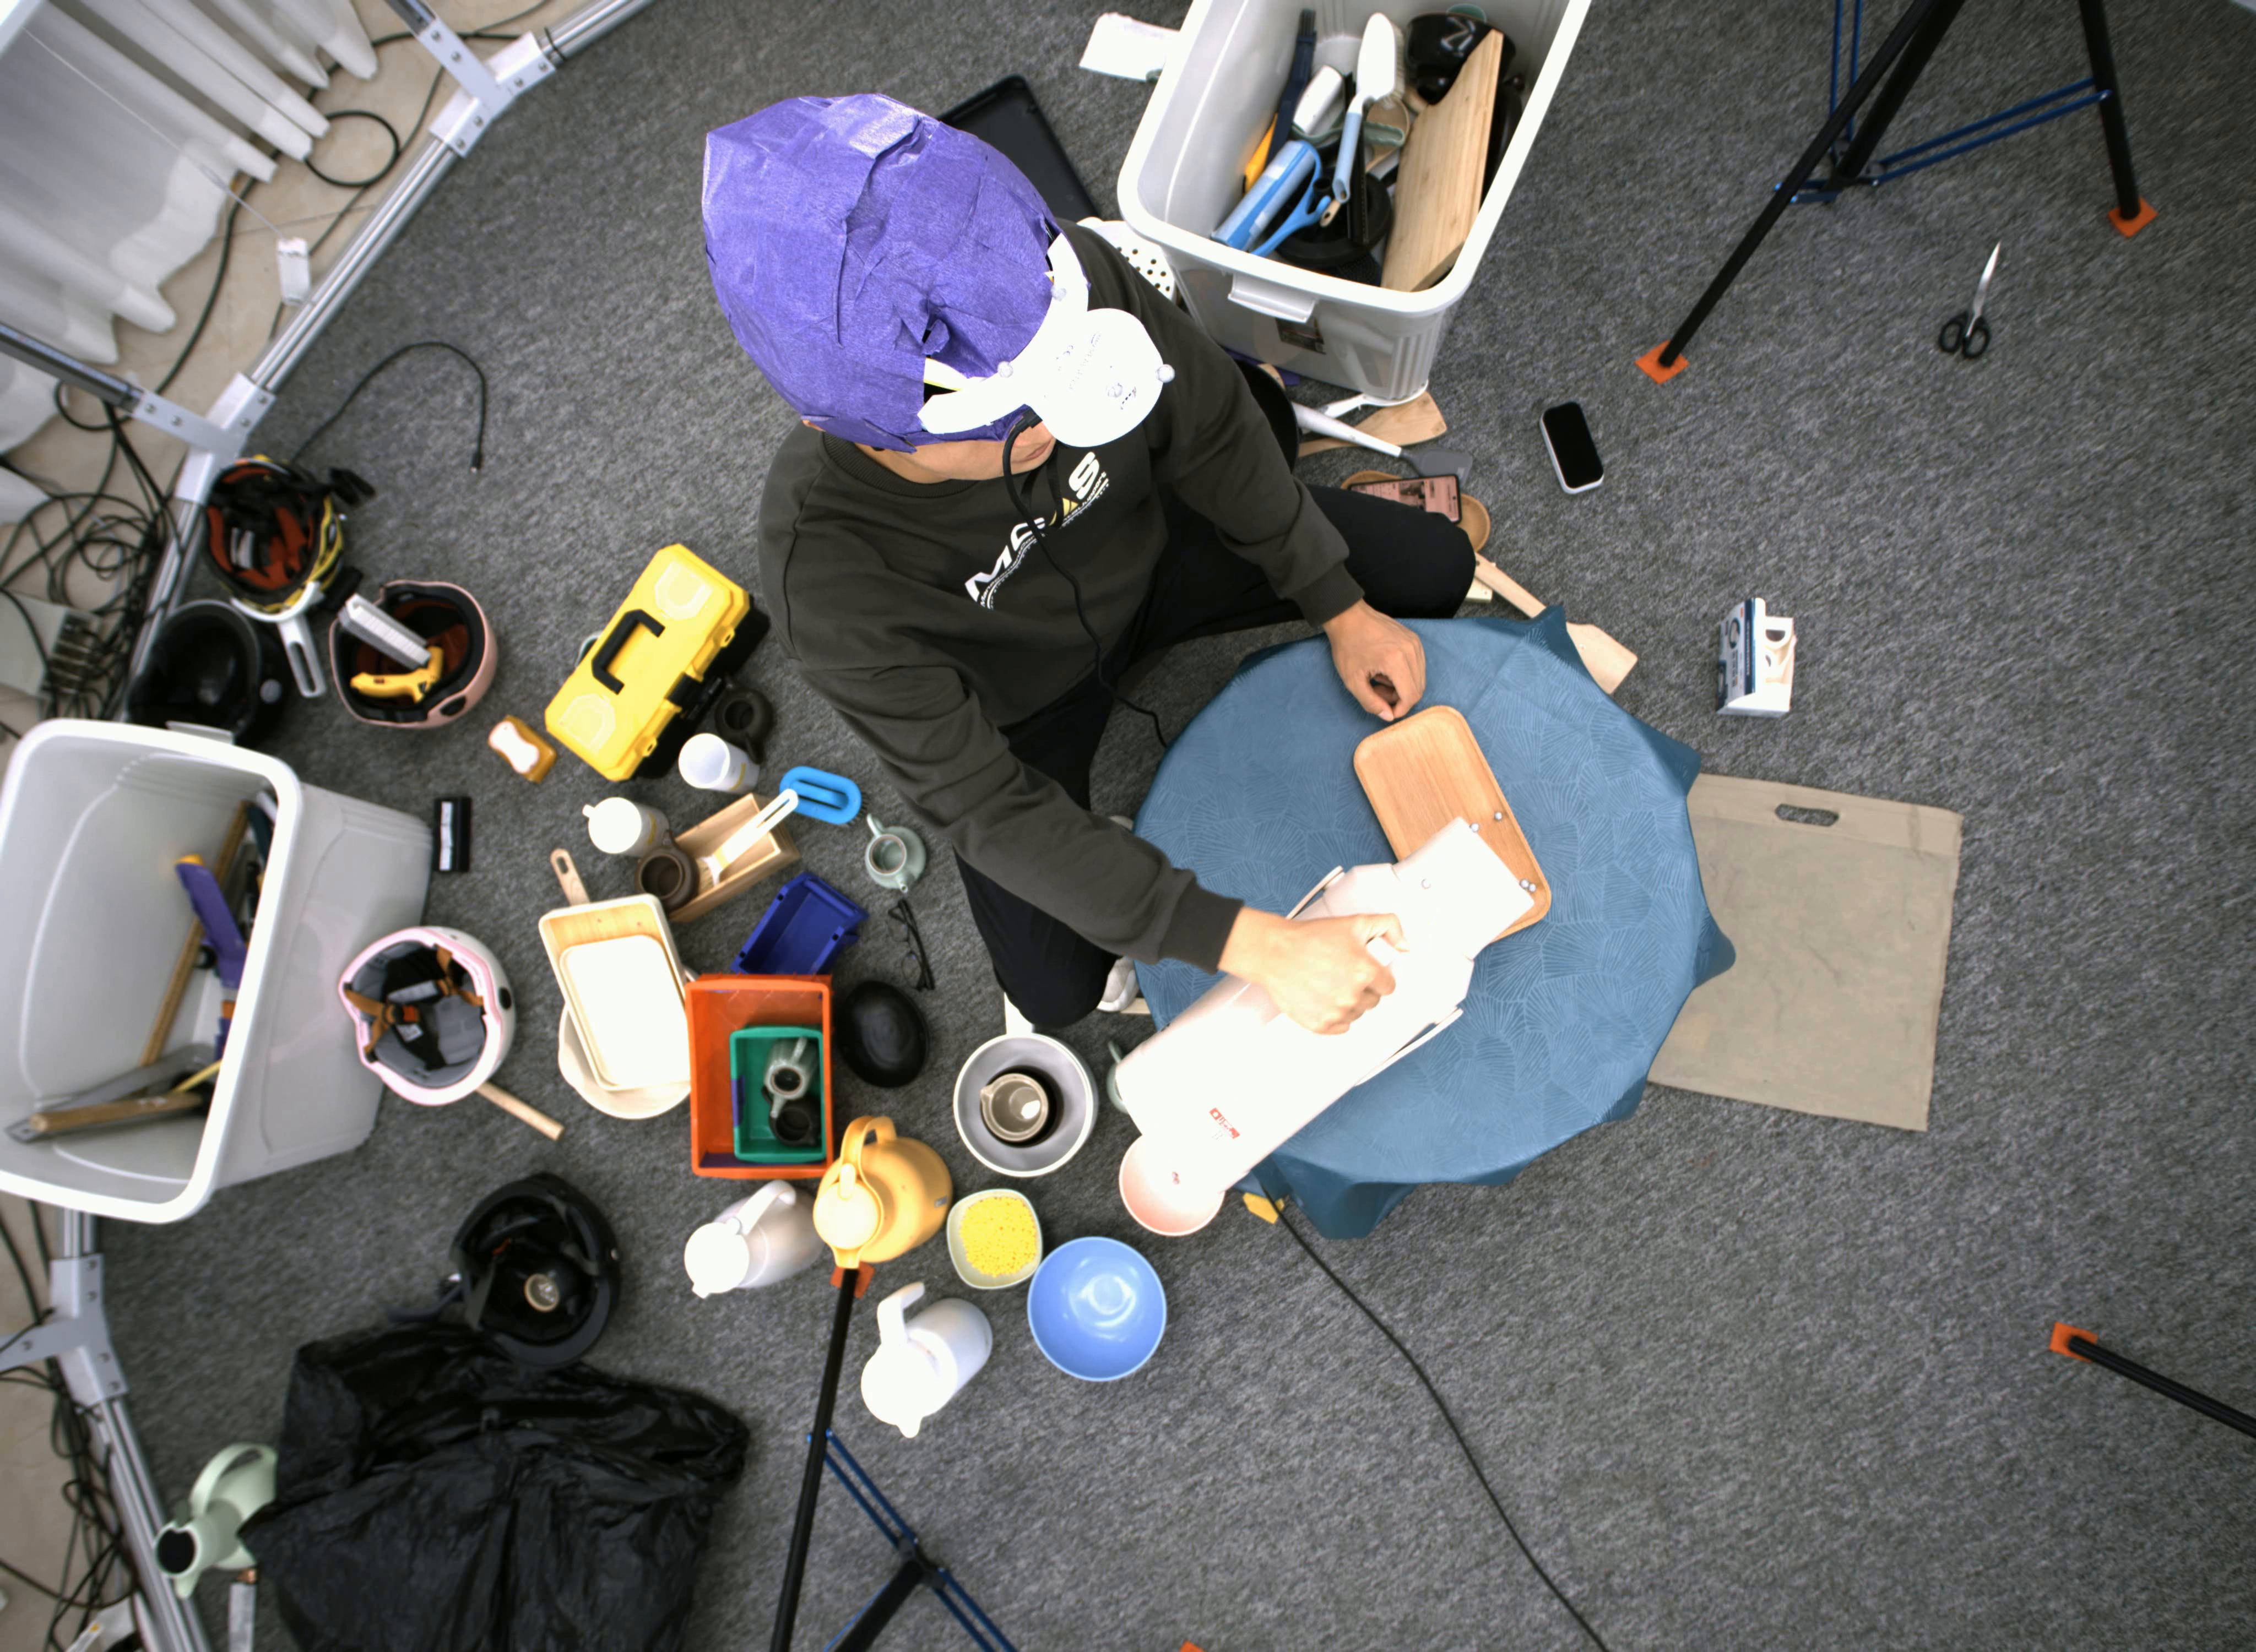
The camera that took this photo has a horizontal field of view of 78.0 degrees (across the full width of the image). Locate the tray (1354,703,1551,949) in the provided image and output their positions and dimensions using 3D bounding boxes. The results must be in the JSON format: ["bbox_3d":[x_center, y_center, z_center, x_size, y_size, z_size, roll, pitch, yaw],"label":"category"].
[{"bbox_3d":[0.339,-0.001,1.443,0.131,0.023,0.249,-24,82,6],"label":"tray"}]

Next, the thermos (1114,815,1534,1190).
[{"bbox_3d":[0.180,0.155,1.276,0.410,0.206,0.174,-40,79,13],"label":"thermos"}]
